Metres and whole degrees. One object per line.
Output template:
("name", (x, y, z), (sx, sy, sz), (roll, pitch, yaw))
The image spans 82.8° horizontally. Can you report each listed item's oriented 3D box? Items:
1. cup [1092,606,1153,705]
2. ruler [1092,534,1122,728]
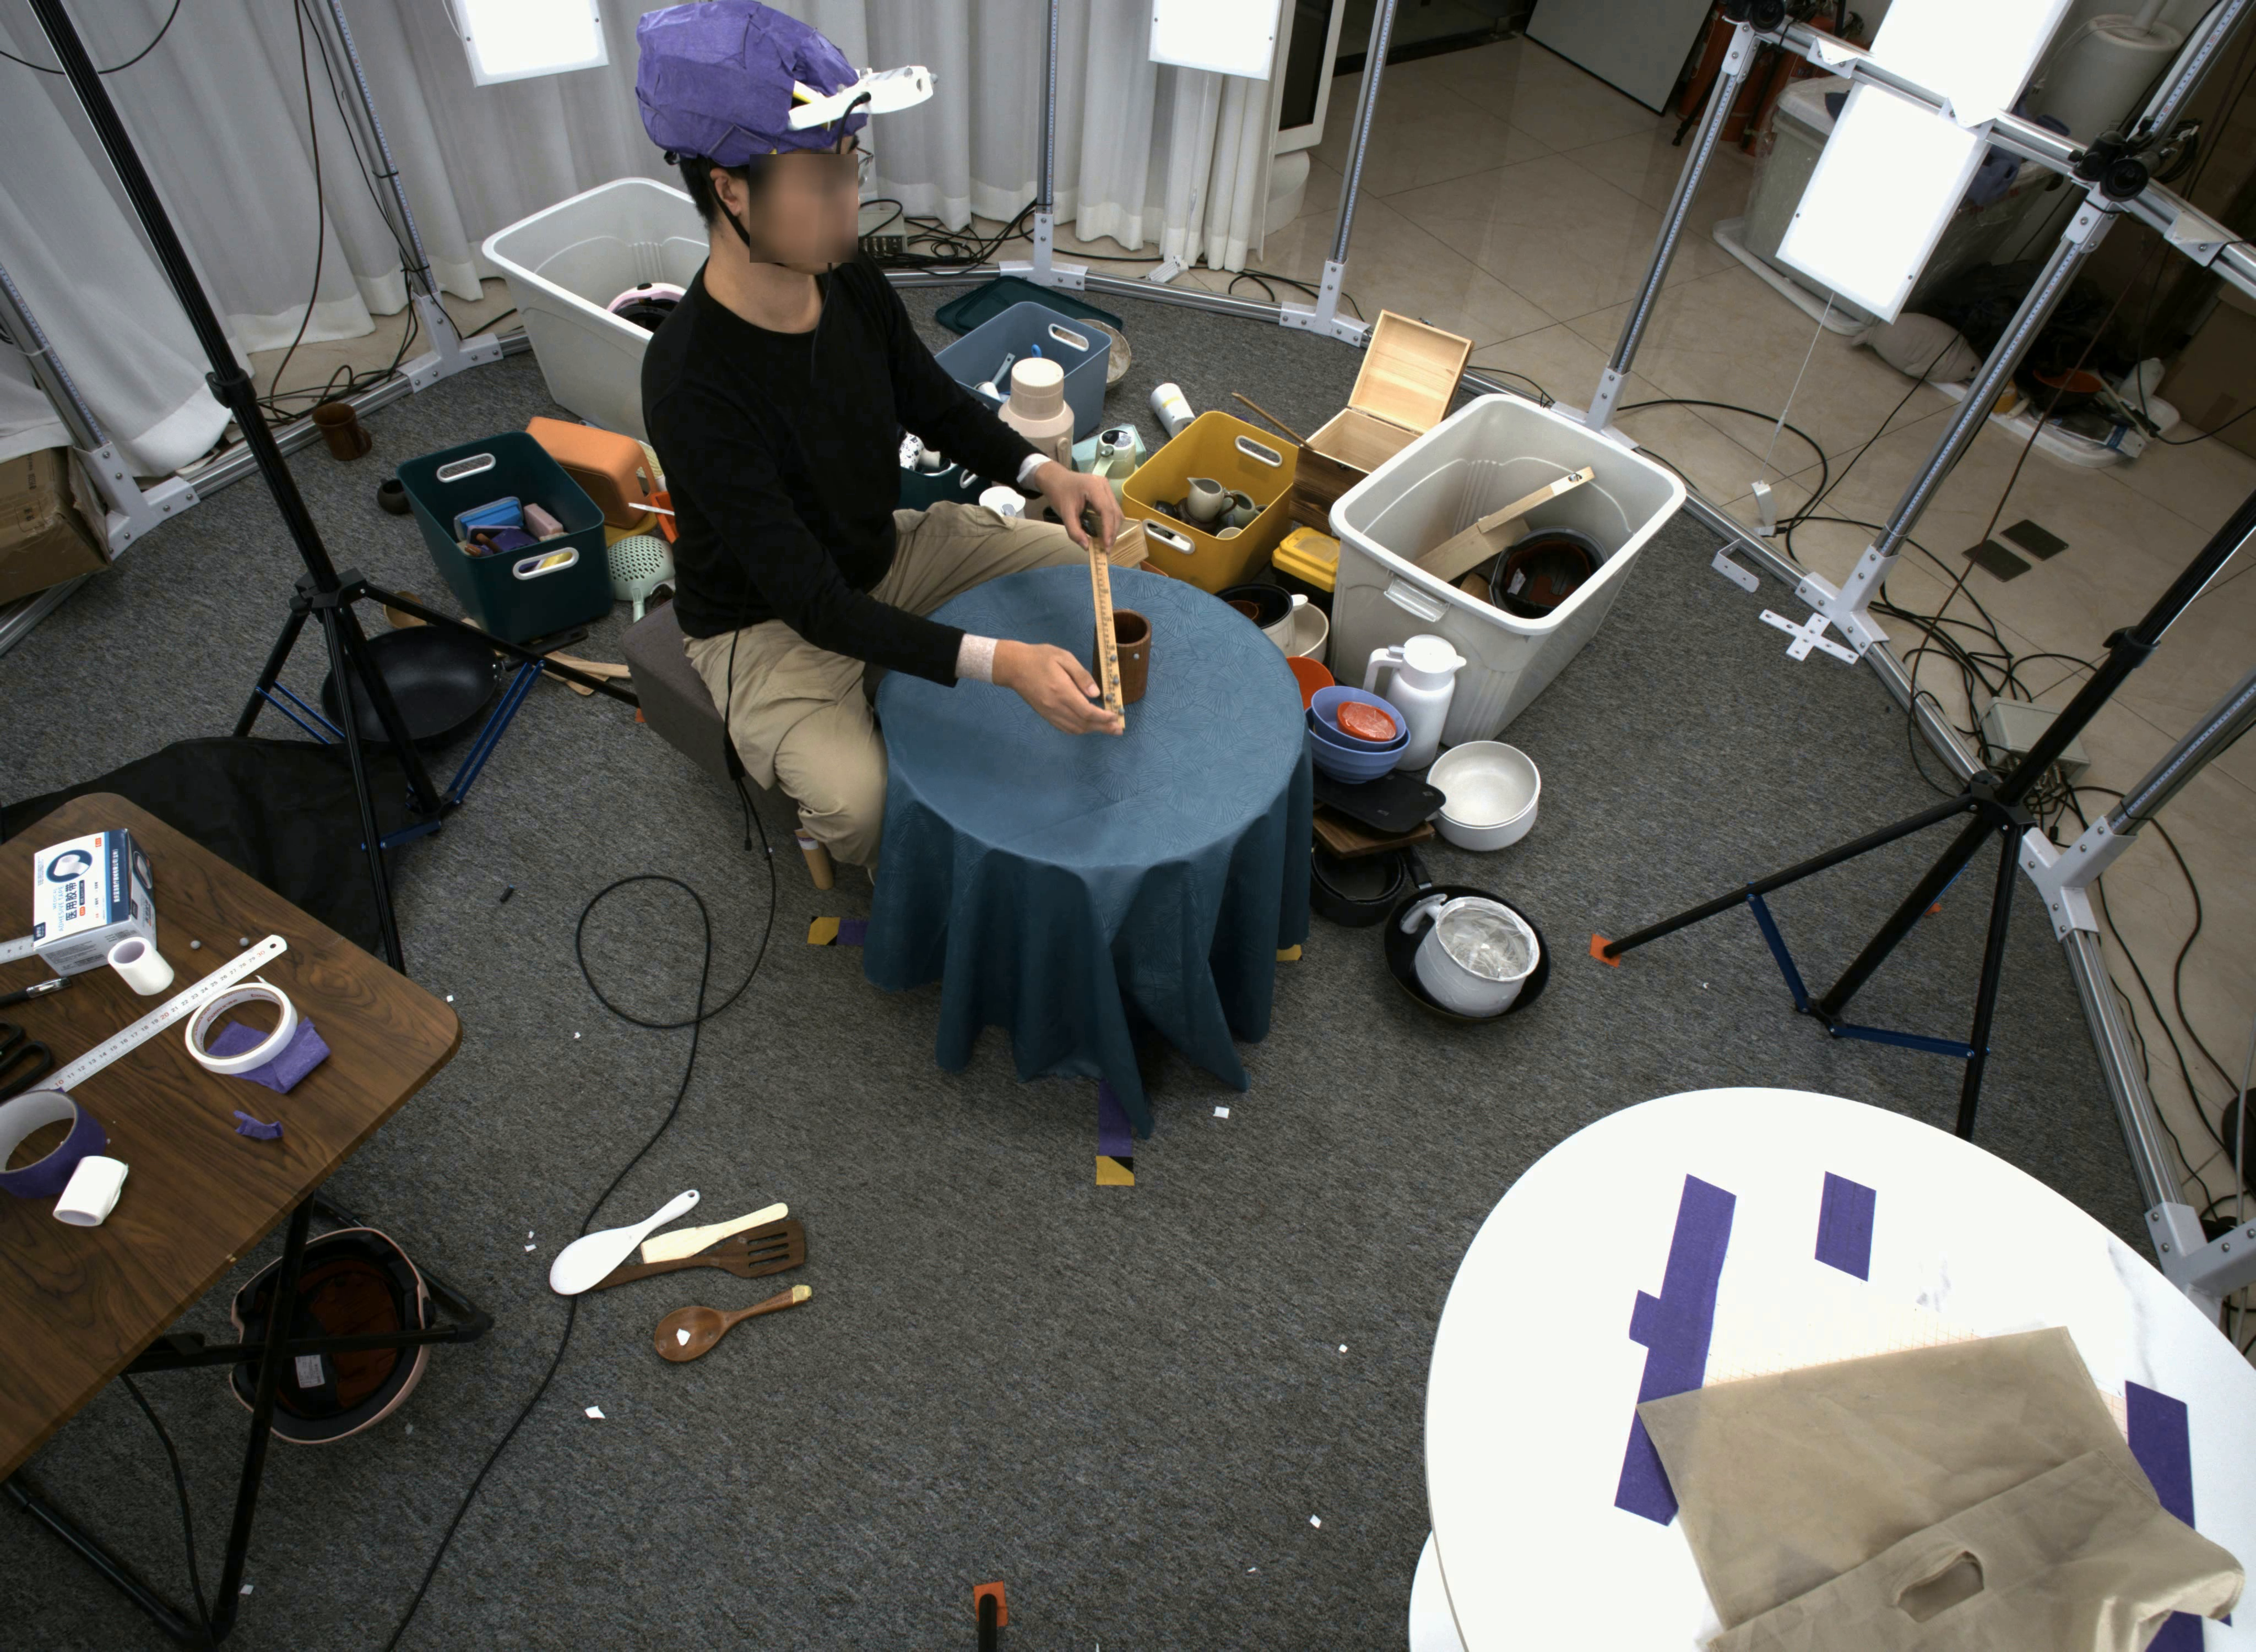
("cup", (-0.009, -0.238, 1.801), (0.087, 0.115, 0.090), (2, 48, -3))
("ruler", (-0.029, -0.273, 1.741), (0.027, 0.022, 0.340), (7, 55, -17))
